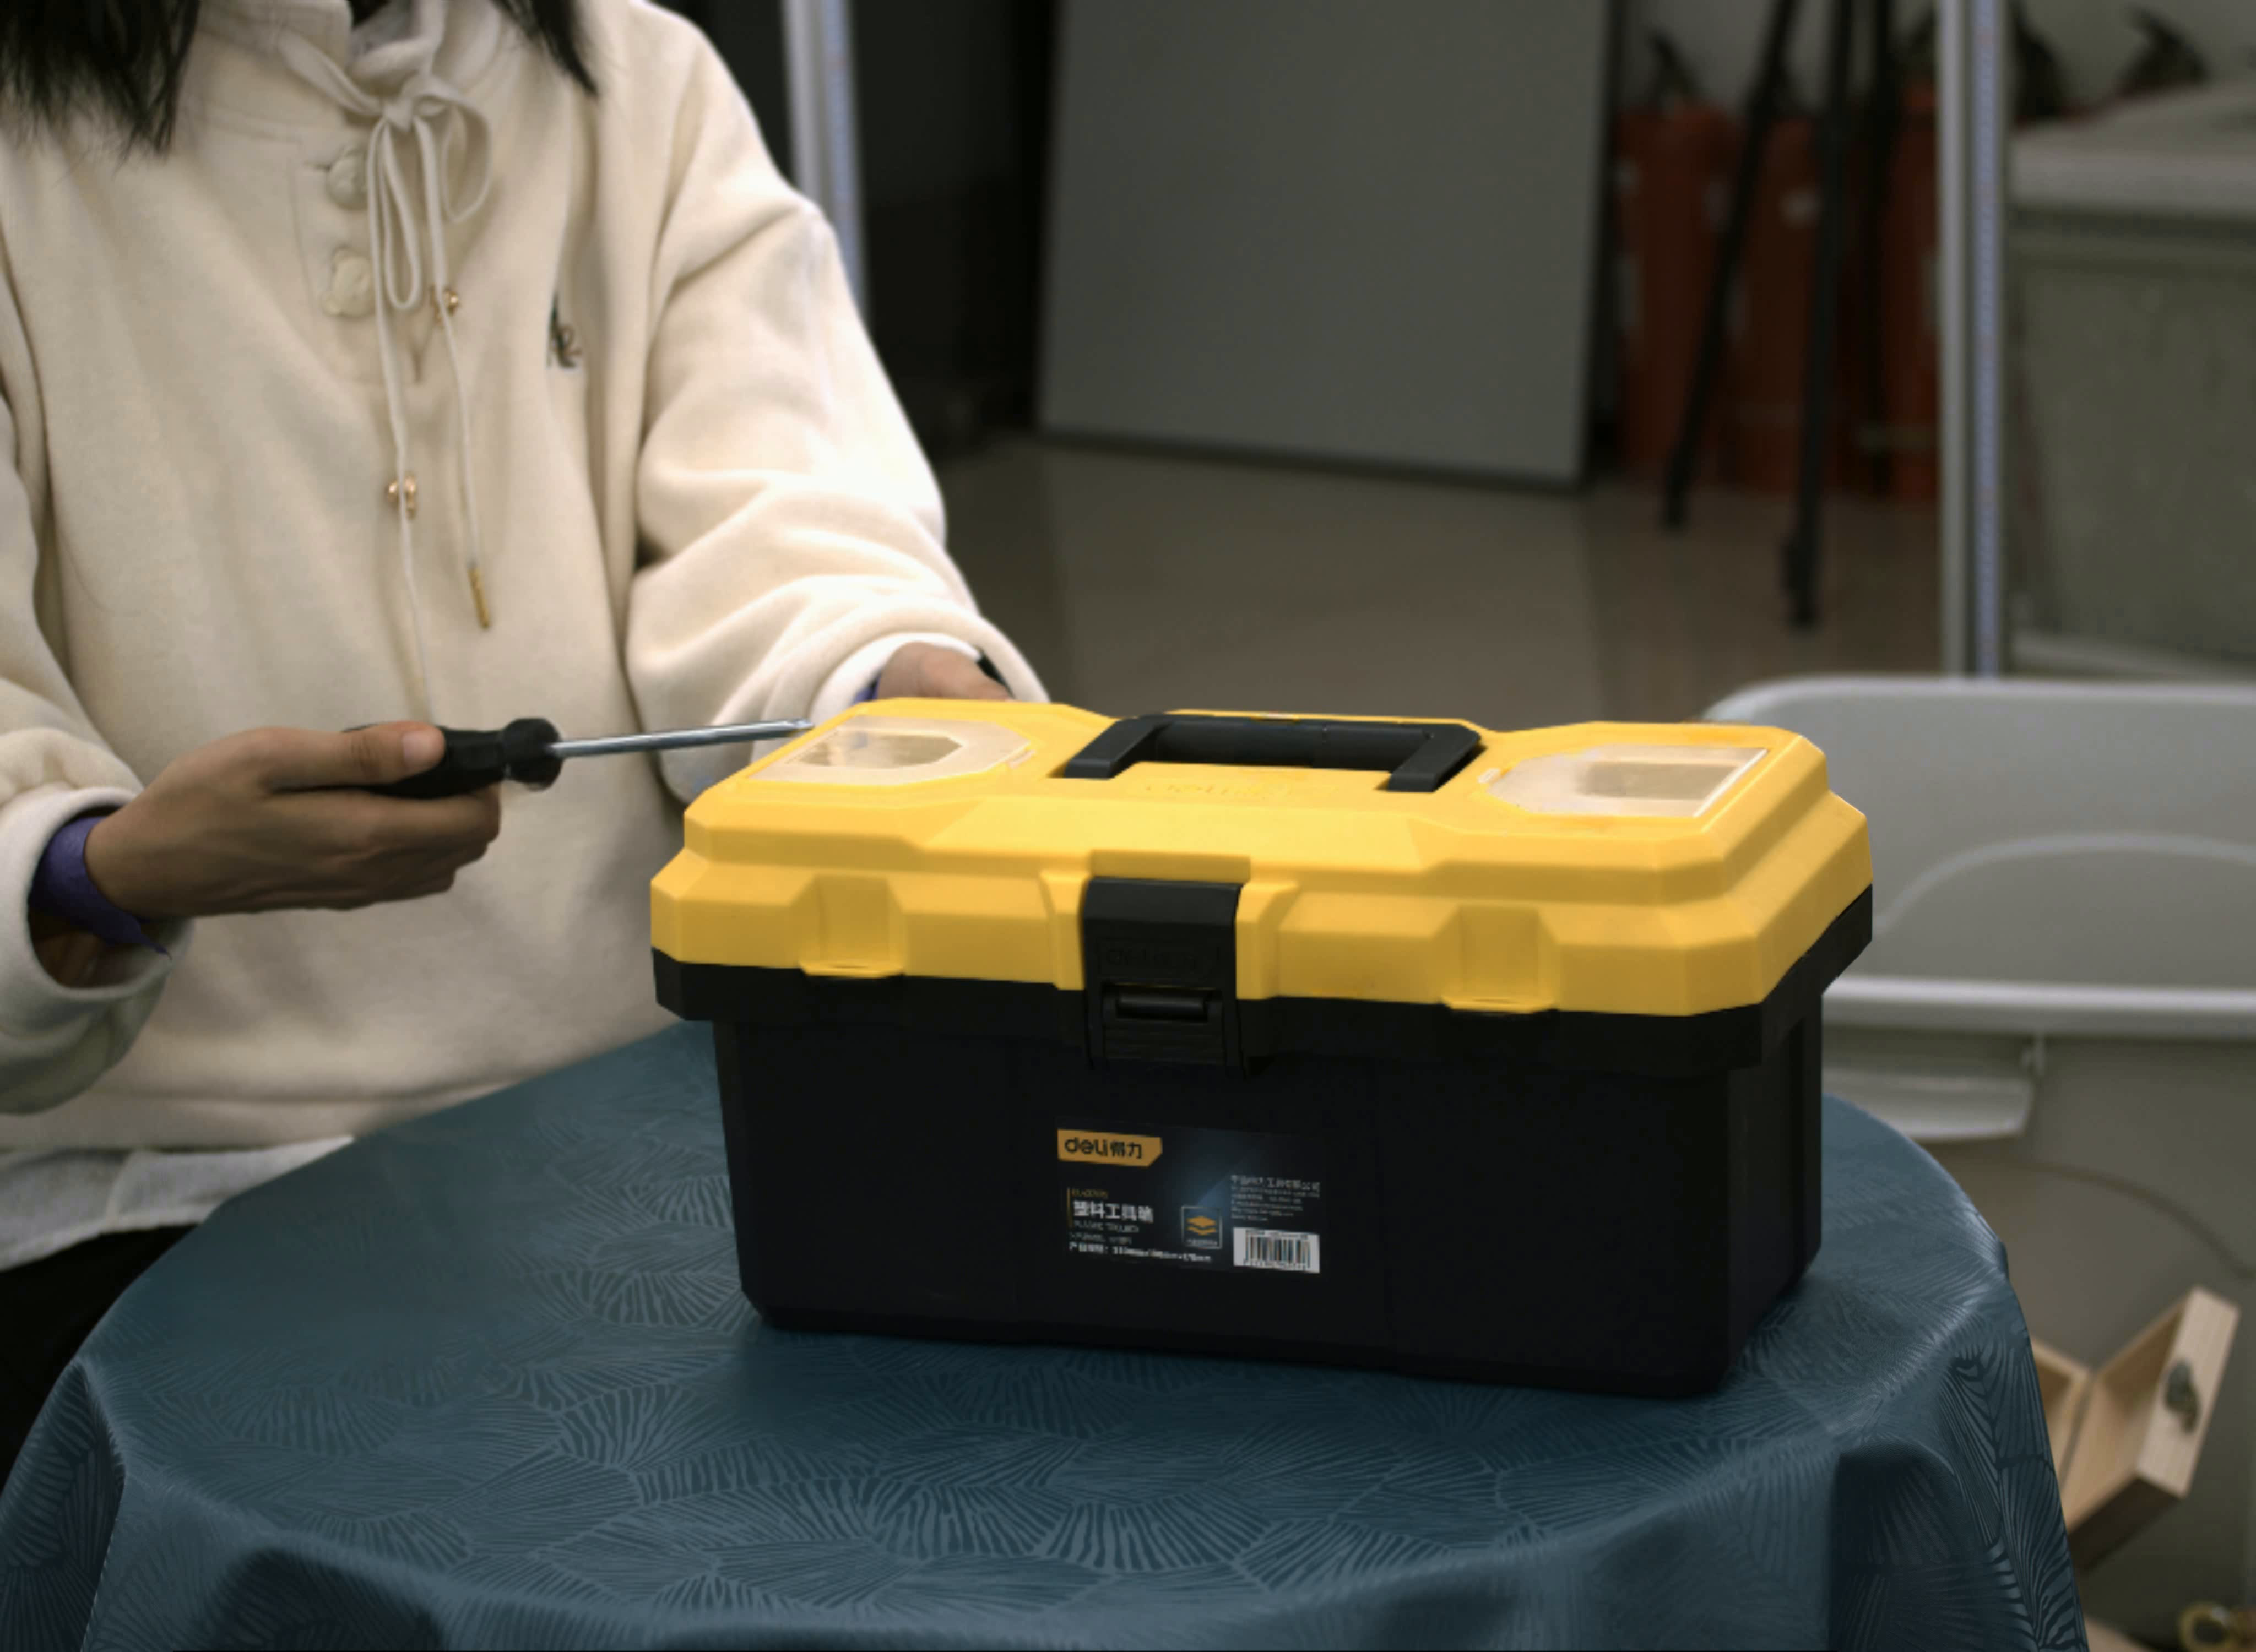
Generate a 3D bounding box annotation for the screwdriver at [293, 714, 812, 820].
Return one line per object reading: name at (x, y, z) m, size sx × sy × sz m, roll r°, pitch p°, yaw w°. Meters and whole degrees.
screwdriver at (-0.185, -0.020, 1.750) m, size 0.196 × 0.032 × 0.031 m, roll -3°, pitch 12°, yaw 27°

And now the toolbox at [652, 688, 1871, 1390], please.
toolbox at (0.041, 0.061, 1.637) m, size 0.351 × 0.175 × 0.179 m, roll 2°, pitch 14°, yaw 23°
